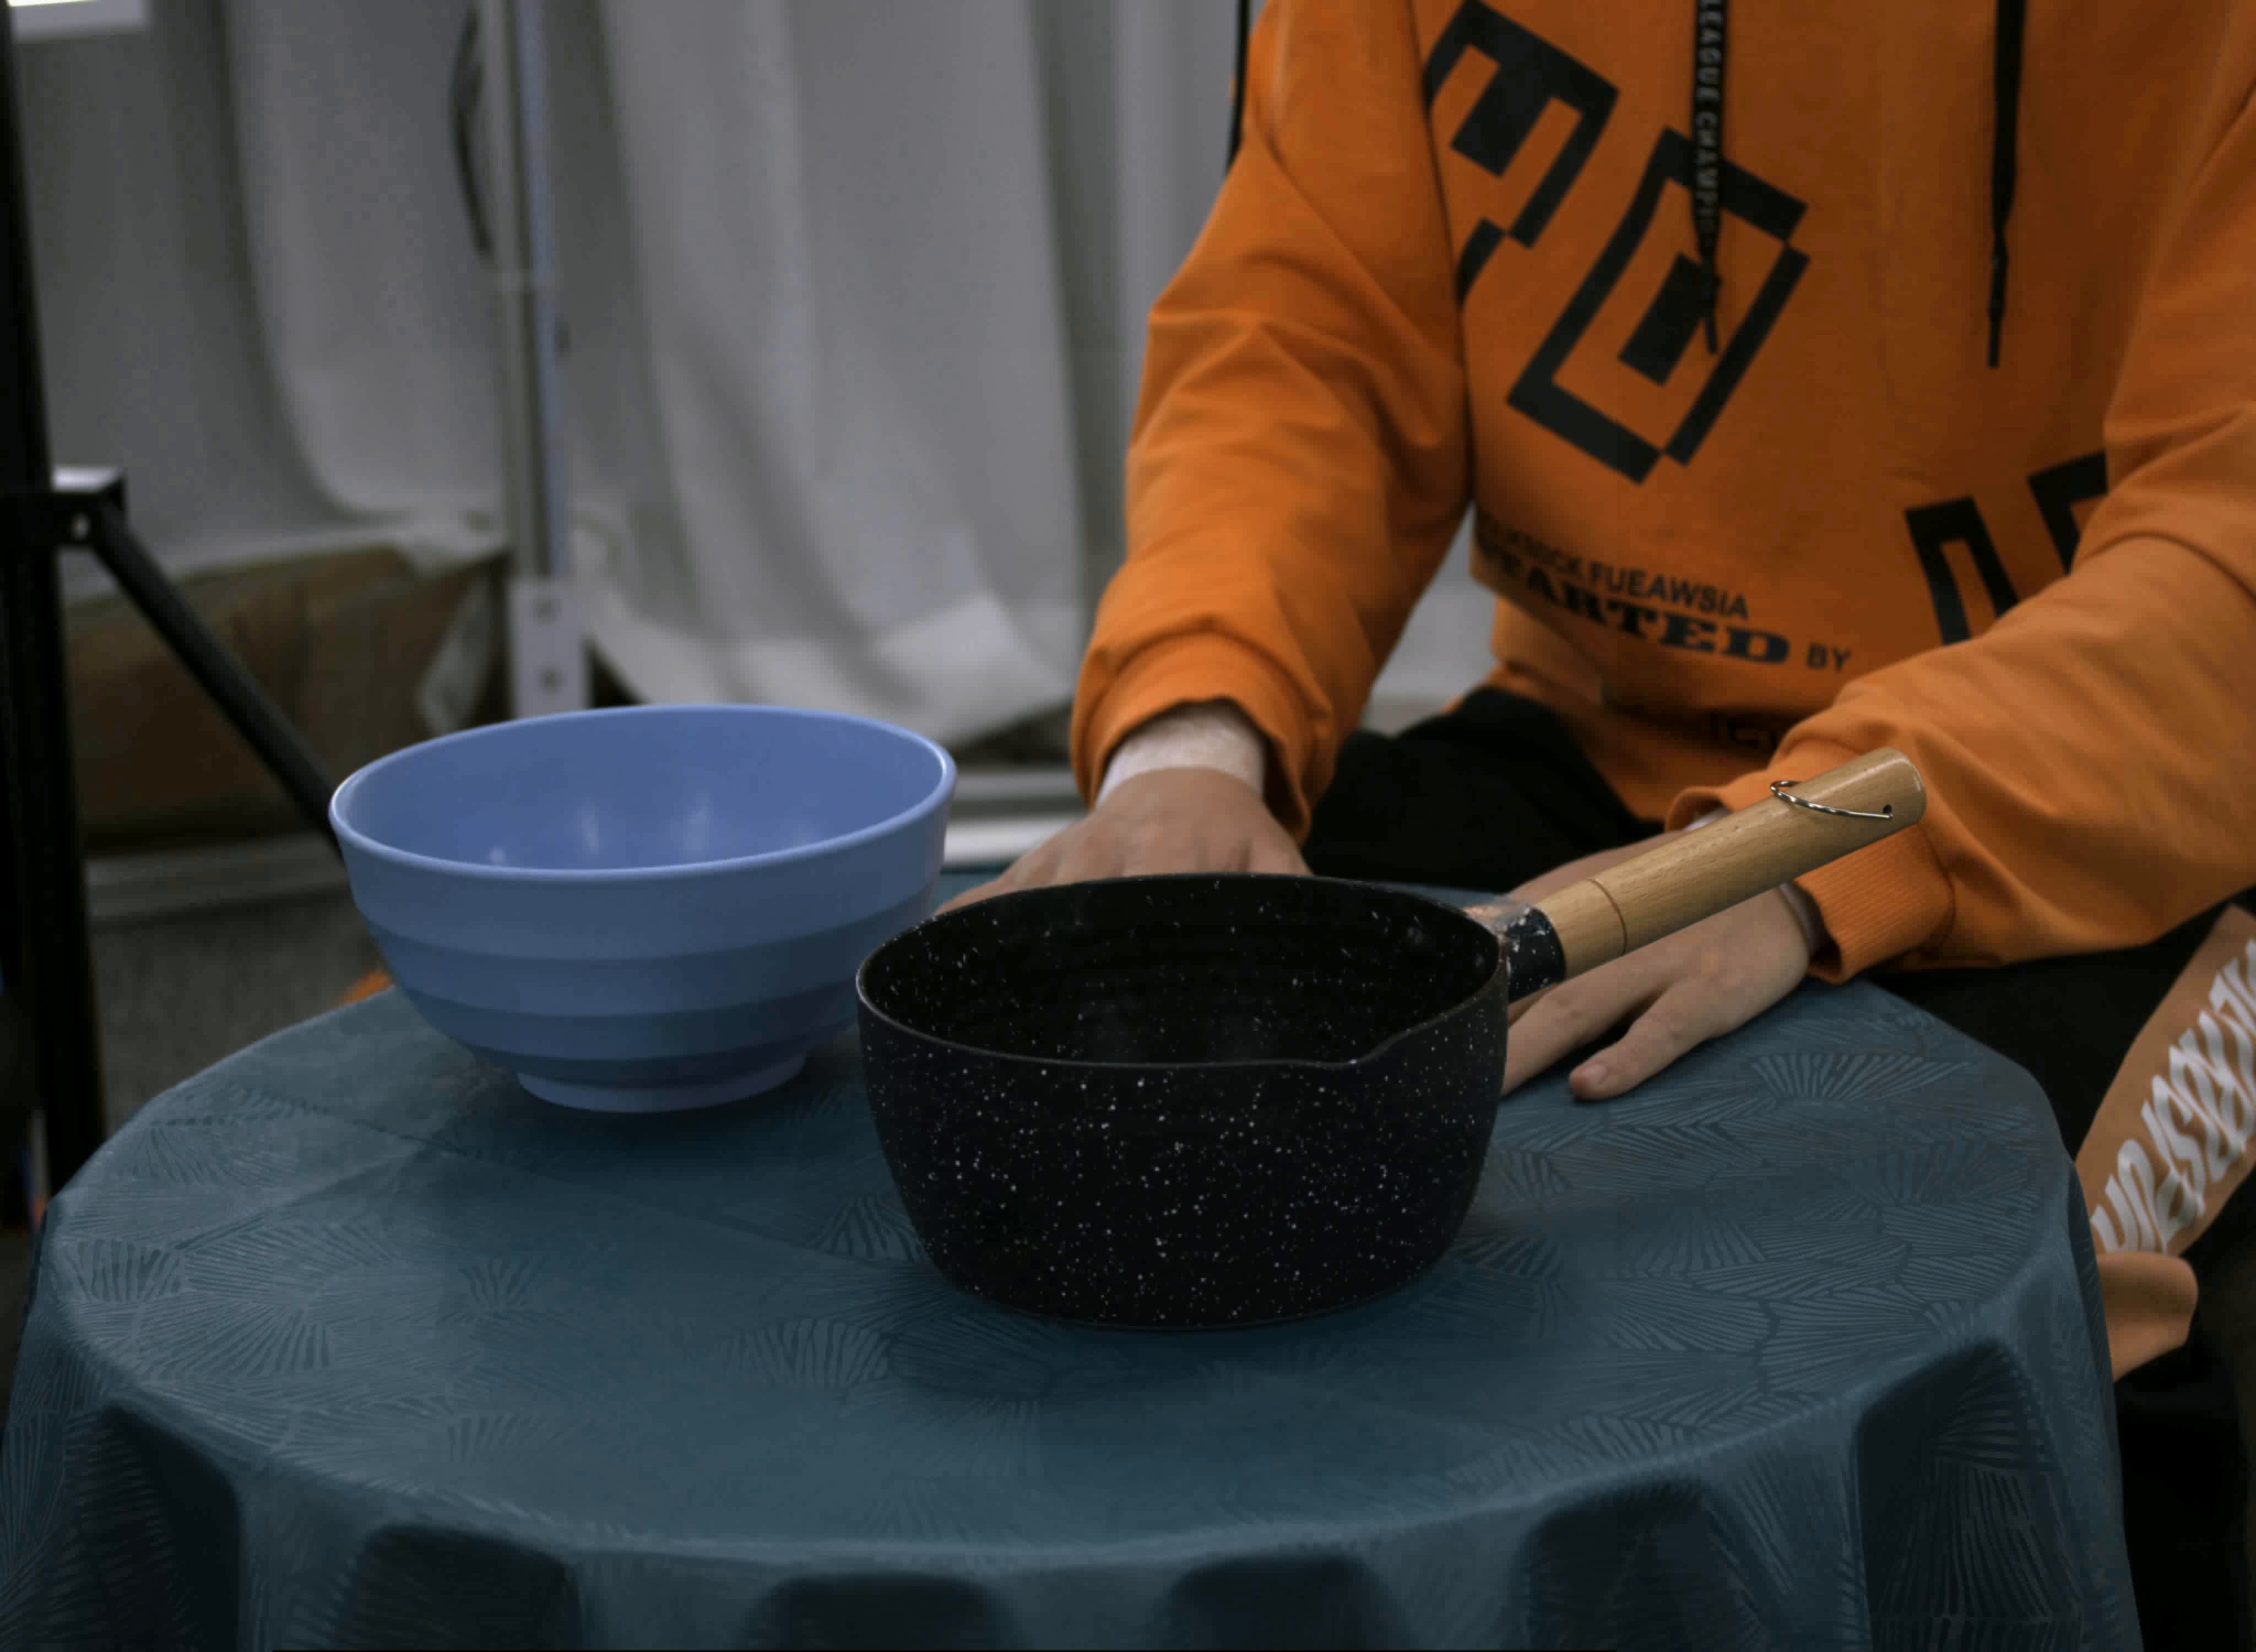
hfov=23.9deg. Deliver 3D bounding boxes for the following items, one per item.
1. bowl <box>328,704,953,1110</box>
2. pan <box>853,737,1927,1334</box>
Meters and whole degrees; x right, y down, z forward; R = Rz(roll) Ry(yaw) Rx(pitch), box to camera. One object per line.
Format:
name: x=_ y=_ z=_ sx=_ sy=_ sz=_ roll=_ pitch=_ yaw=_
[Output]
bowl: x=-0.150 y=0.030 z=1.681 sx=0.195 sy=0.095 sz=0.197 roll=-4 pitch=16 yaw=0
pan: x=0.086 y=0.055 z=1.533 sx=0.336 sy=0.108 sz=0.212 roll=-12 pitch=17 yaw=-25
